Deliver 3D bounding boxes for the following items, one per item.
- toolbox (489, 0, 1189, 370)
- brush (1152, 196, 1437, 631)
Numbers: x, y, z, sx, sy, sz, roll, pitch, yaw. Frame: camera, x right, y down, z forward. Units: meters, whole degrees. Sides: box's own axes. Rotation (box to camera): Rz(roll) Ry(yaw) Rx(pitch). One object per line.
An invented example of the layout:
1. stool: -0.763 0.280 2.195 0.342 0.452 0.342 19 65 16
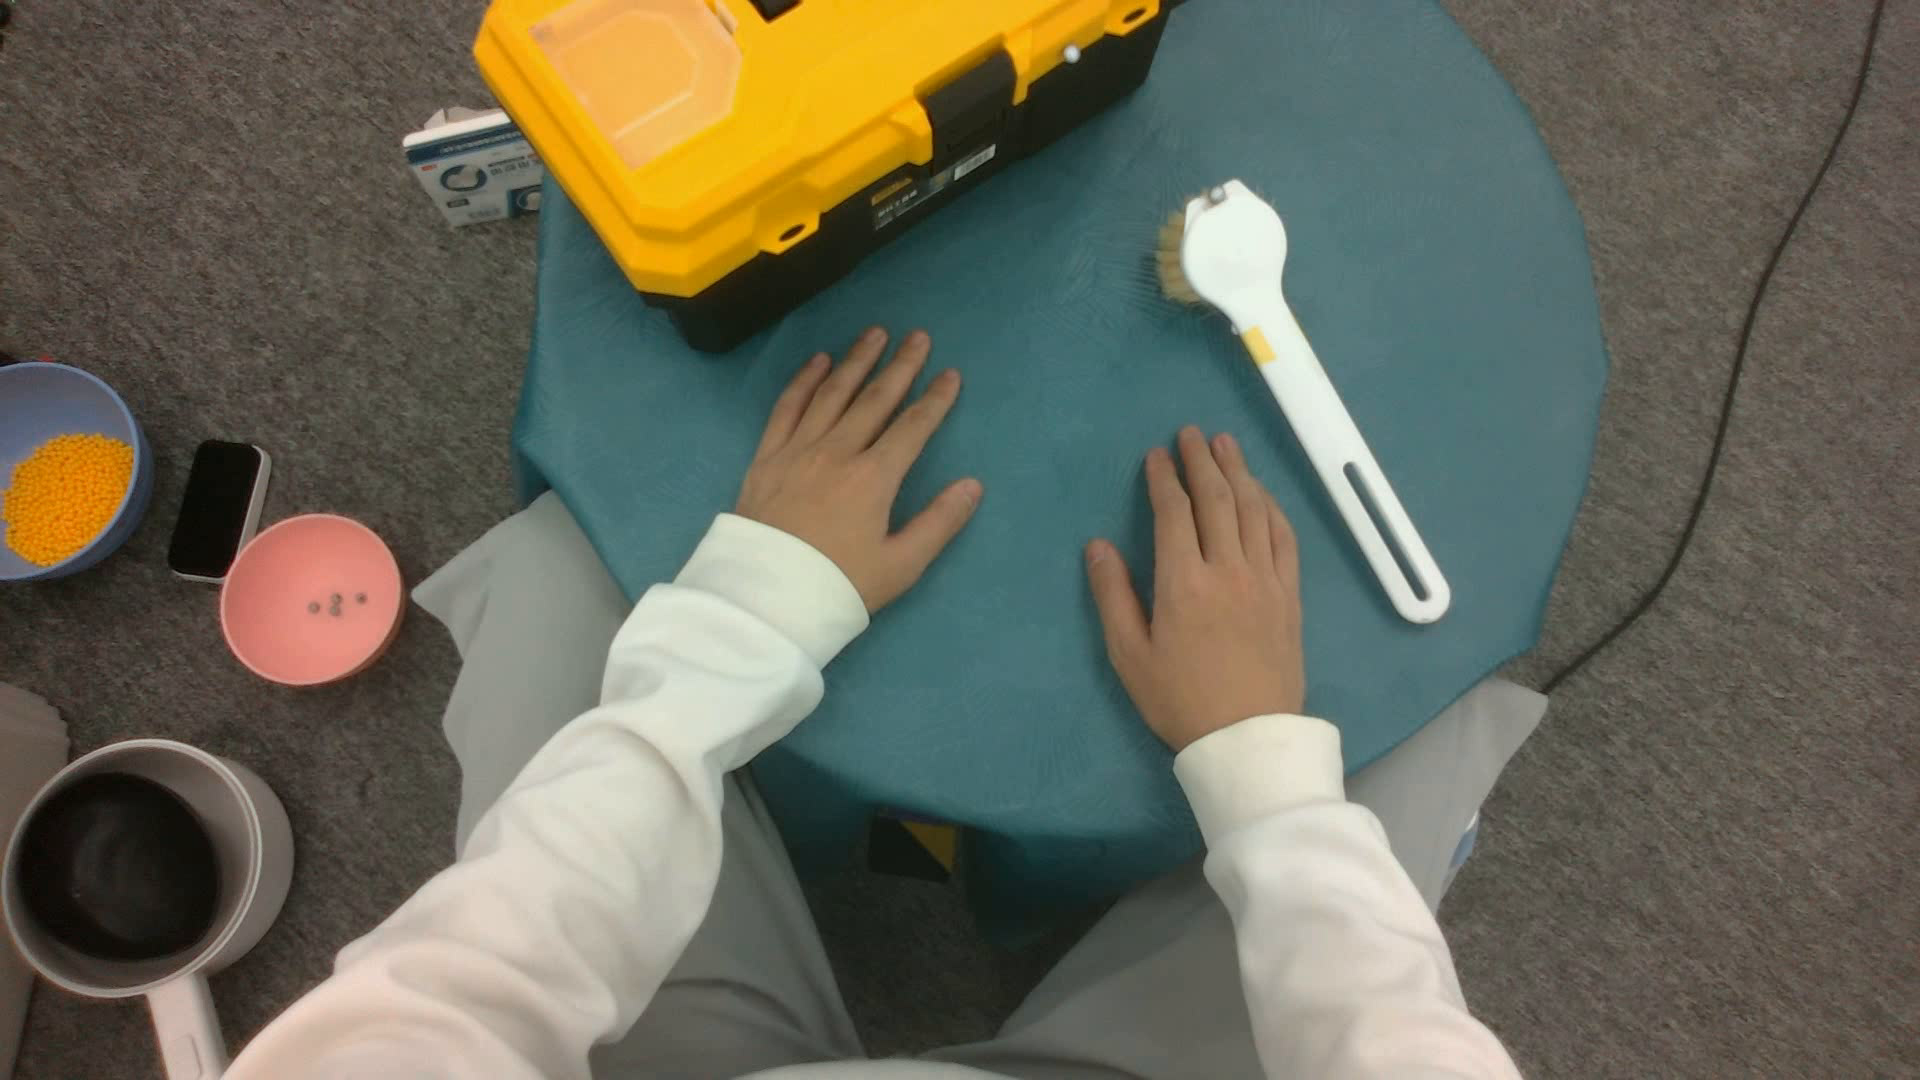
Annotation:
1. toolbox: -0.047 -0.249 0.728 0.352 0.172 0.181 -36 78 -10
2. brush: 0.189 -0.070 0.770 0.068 0.056 0.266 -29 92 10
